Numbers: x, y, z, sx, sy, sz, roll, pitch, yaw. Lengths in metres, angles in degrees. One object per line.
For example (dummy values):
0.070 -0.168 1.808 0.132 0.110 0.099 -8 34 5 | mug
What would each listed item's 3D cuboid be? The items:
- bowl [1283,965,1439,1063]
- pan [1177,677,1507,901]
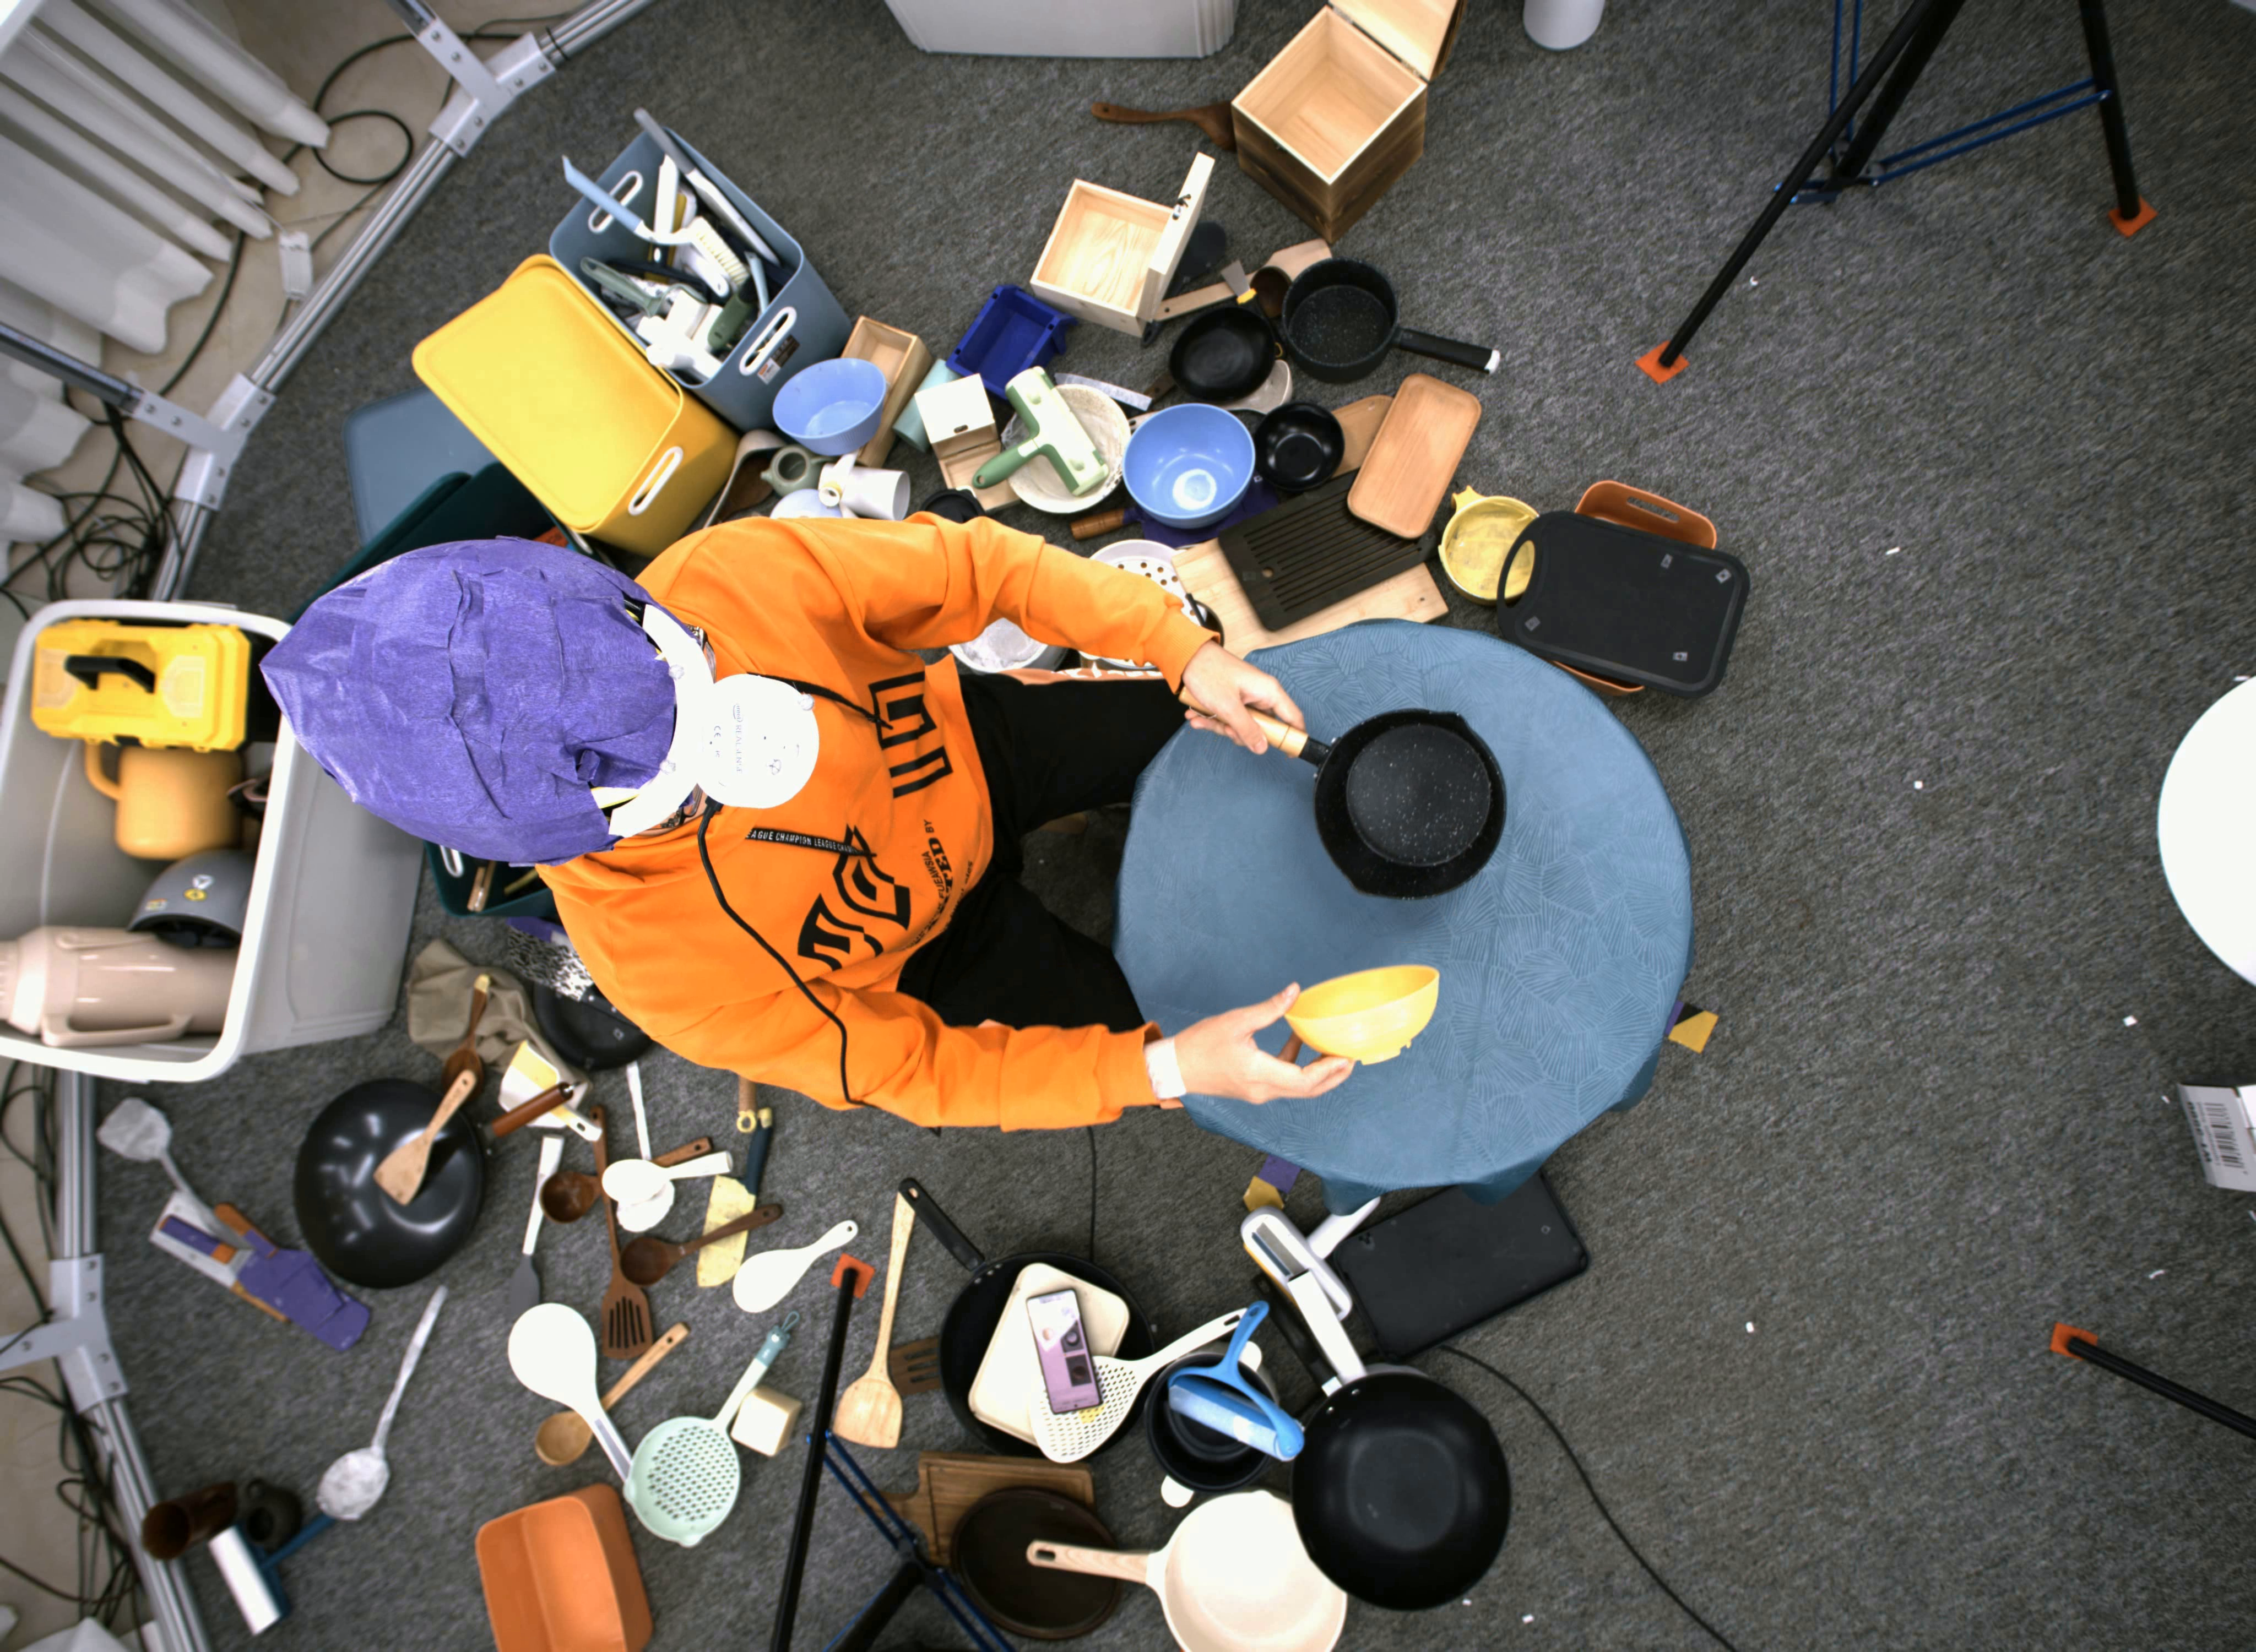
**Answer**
0.217 0.174 1.257 0.146 0.144 0.060 -15 96 8 | bowl
0.208 -0.061 1.362 0.342 0.106 0.211 28 109 11 | pan
